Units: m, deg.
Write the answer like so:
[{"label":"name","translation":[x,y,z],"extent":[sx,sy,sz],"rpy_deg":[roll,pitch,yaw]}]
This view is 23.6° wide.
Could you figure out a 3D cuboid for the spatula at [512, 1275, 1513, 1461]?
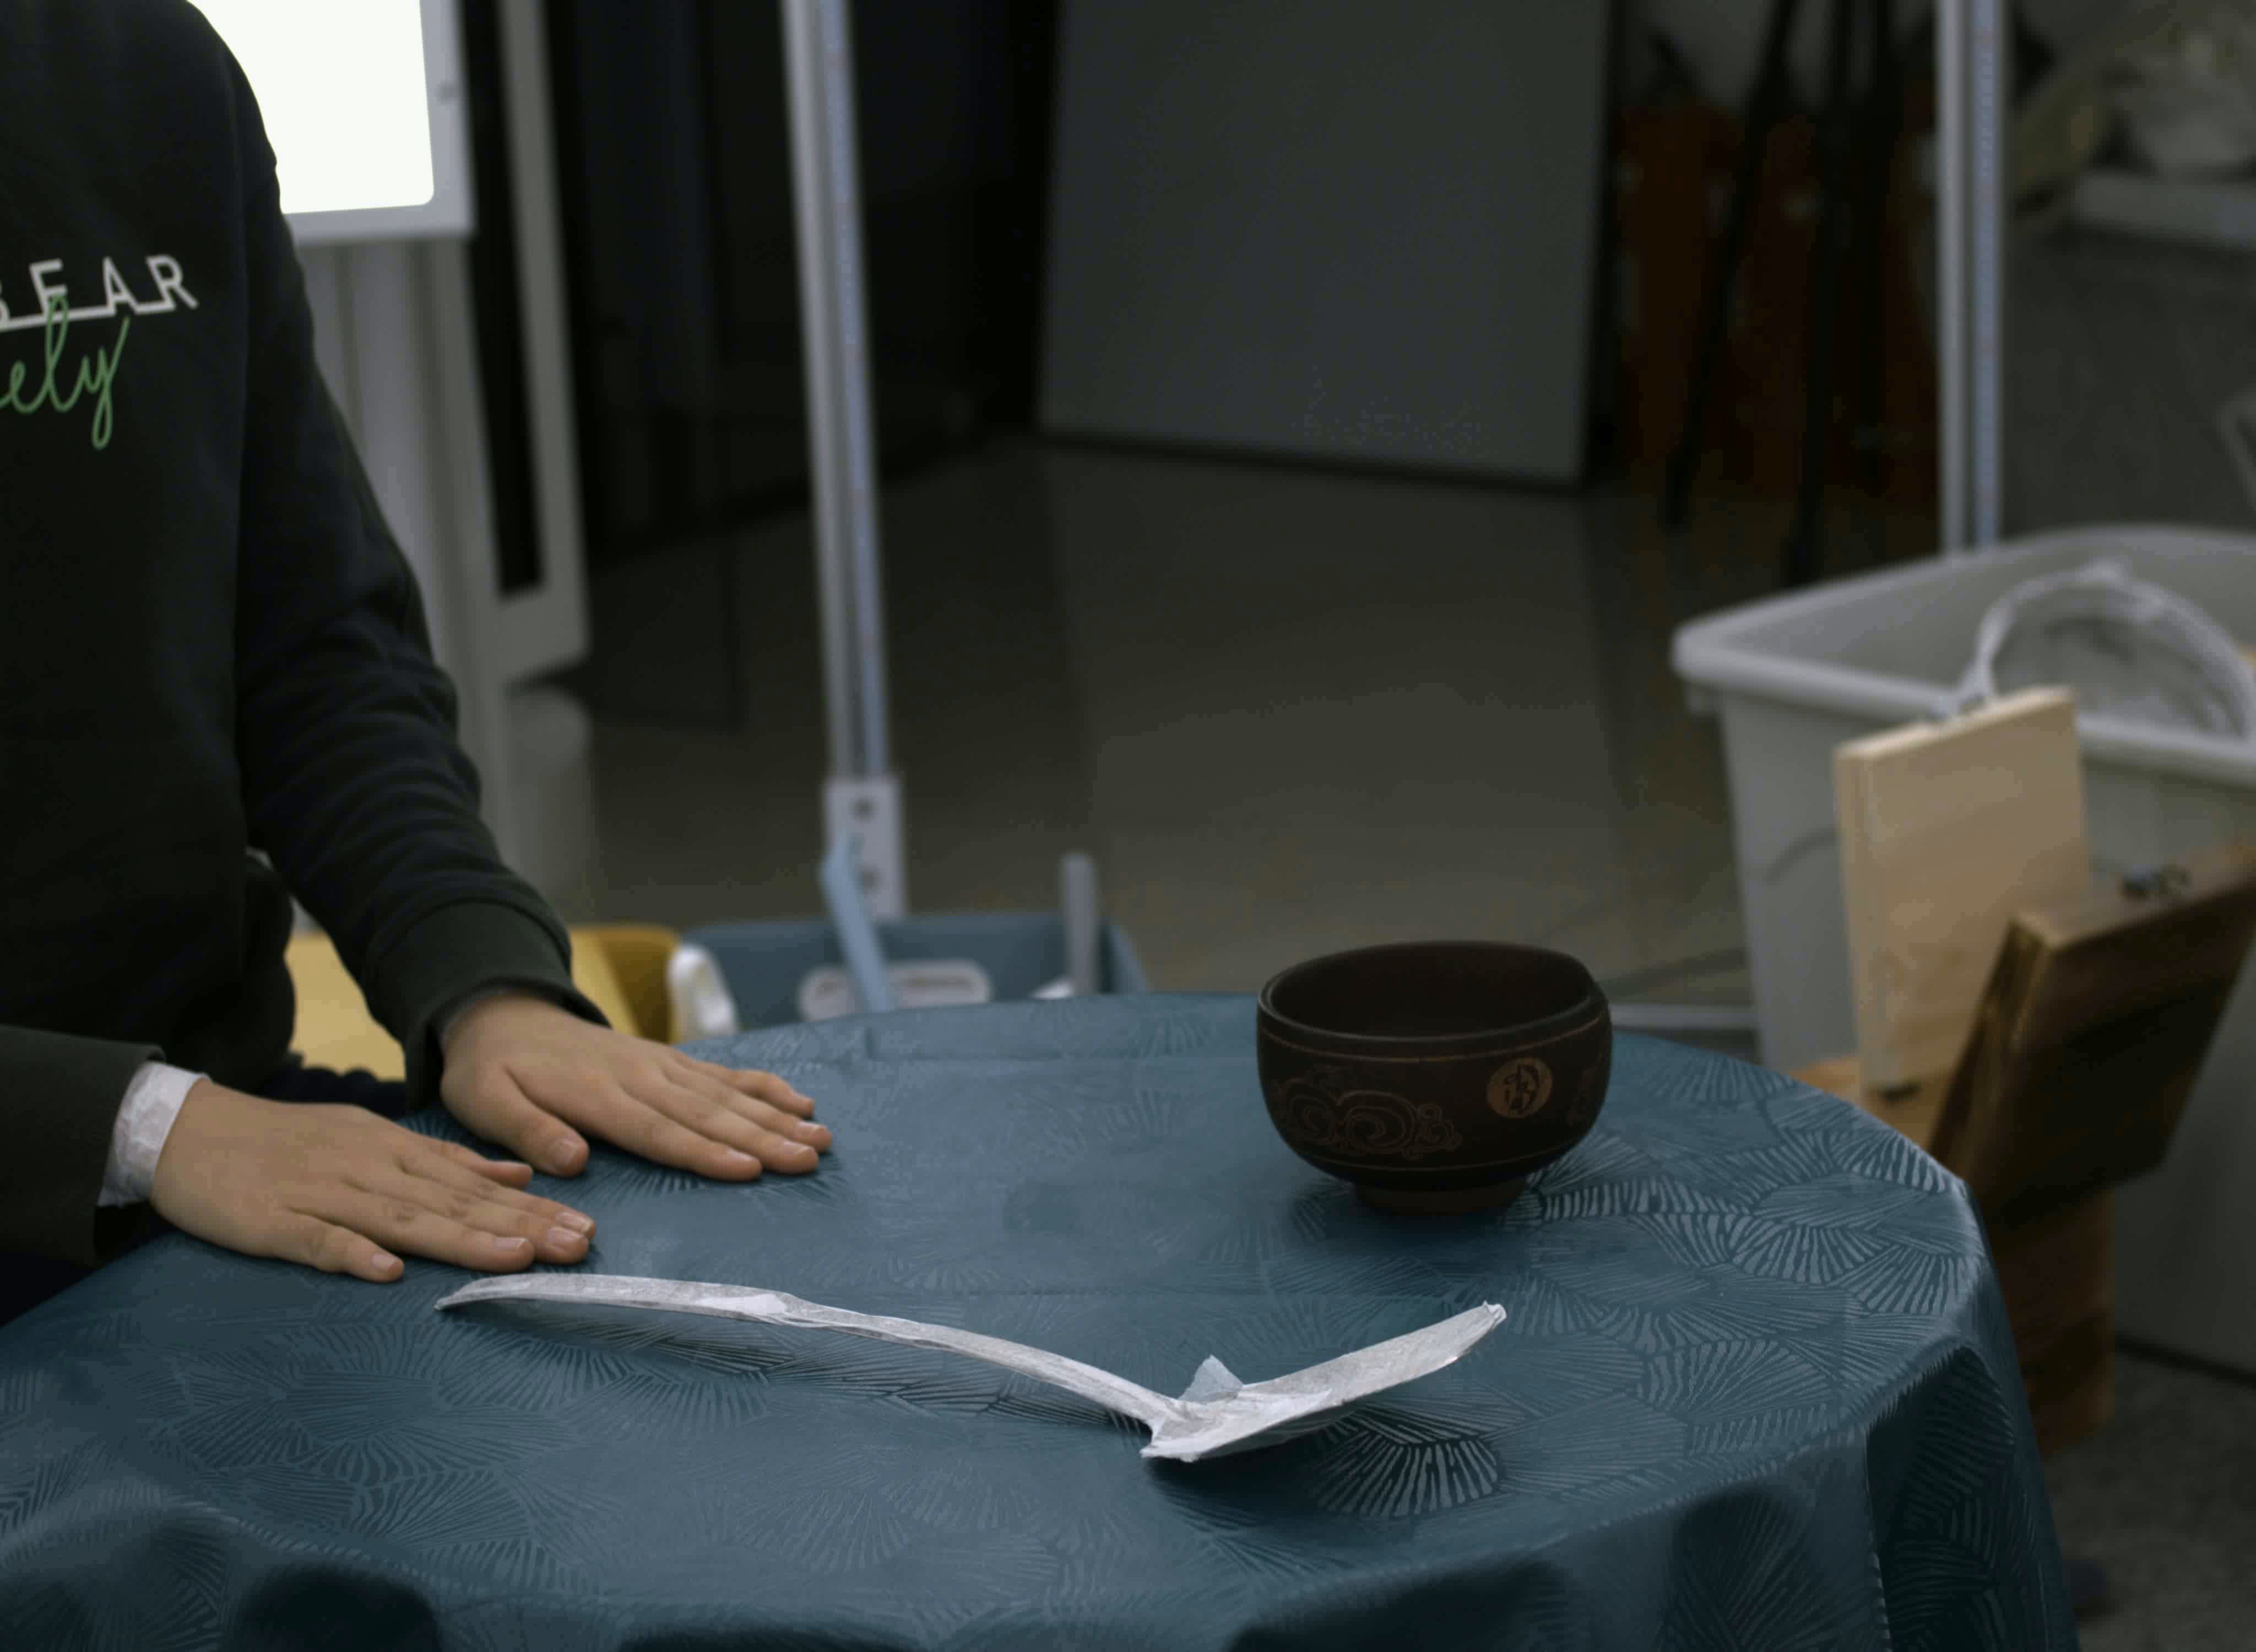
[{"label":"spatula","translation":[-0.053,0.148,1.598],"extent":[0.367,0.045,0.097],"rpy_deg":[6,19,35]}]

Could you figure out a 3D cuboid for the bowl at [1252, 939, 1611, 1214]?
[{"label":"bowl","translation":[0.099,0.084,1.743],"extent":[0.116,0.070,0.118],"rpy_deg":[-5,12,0]}]
